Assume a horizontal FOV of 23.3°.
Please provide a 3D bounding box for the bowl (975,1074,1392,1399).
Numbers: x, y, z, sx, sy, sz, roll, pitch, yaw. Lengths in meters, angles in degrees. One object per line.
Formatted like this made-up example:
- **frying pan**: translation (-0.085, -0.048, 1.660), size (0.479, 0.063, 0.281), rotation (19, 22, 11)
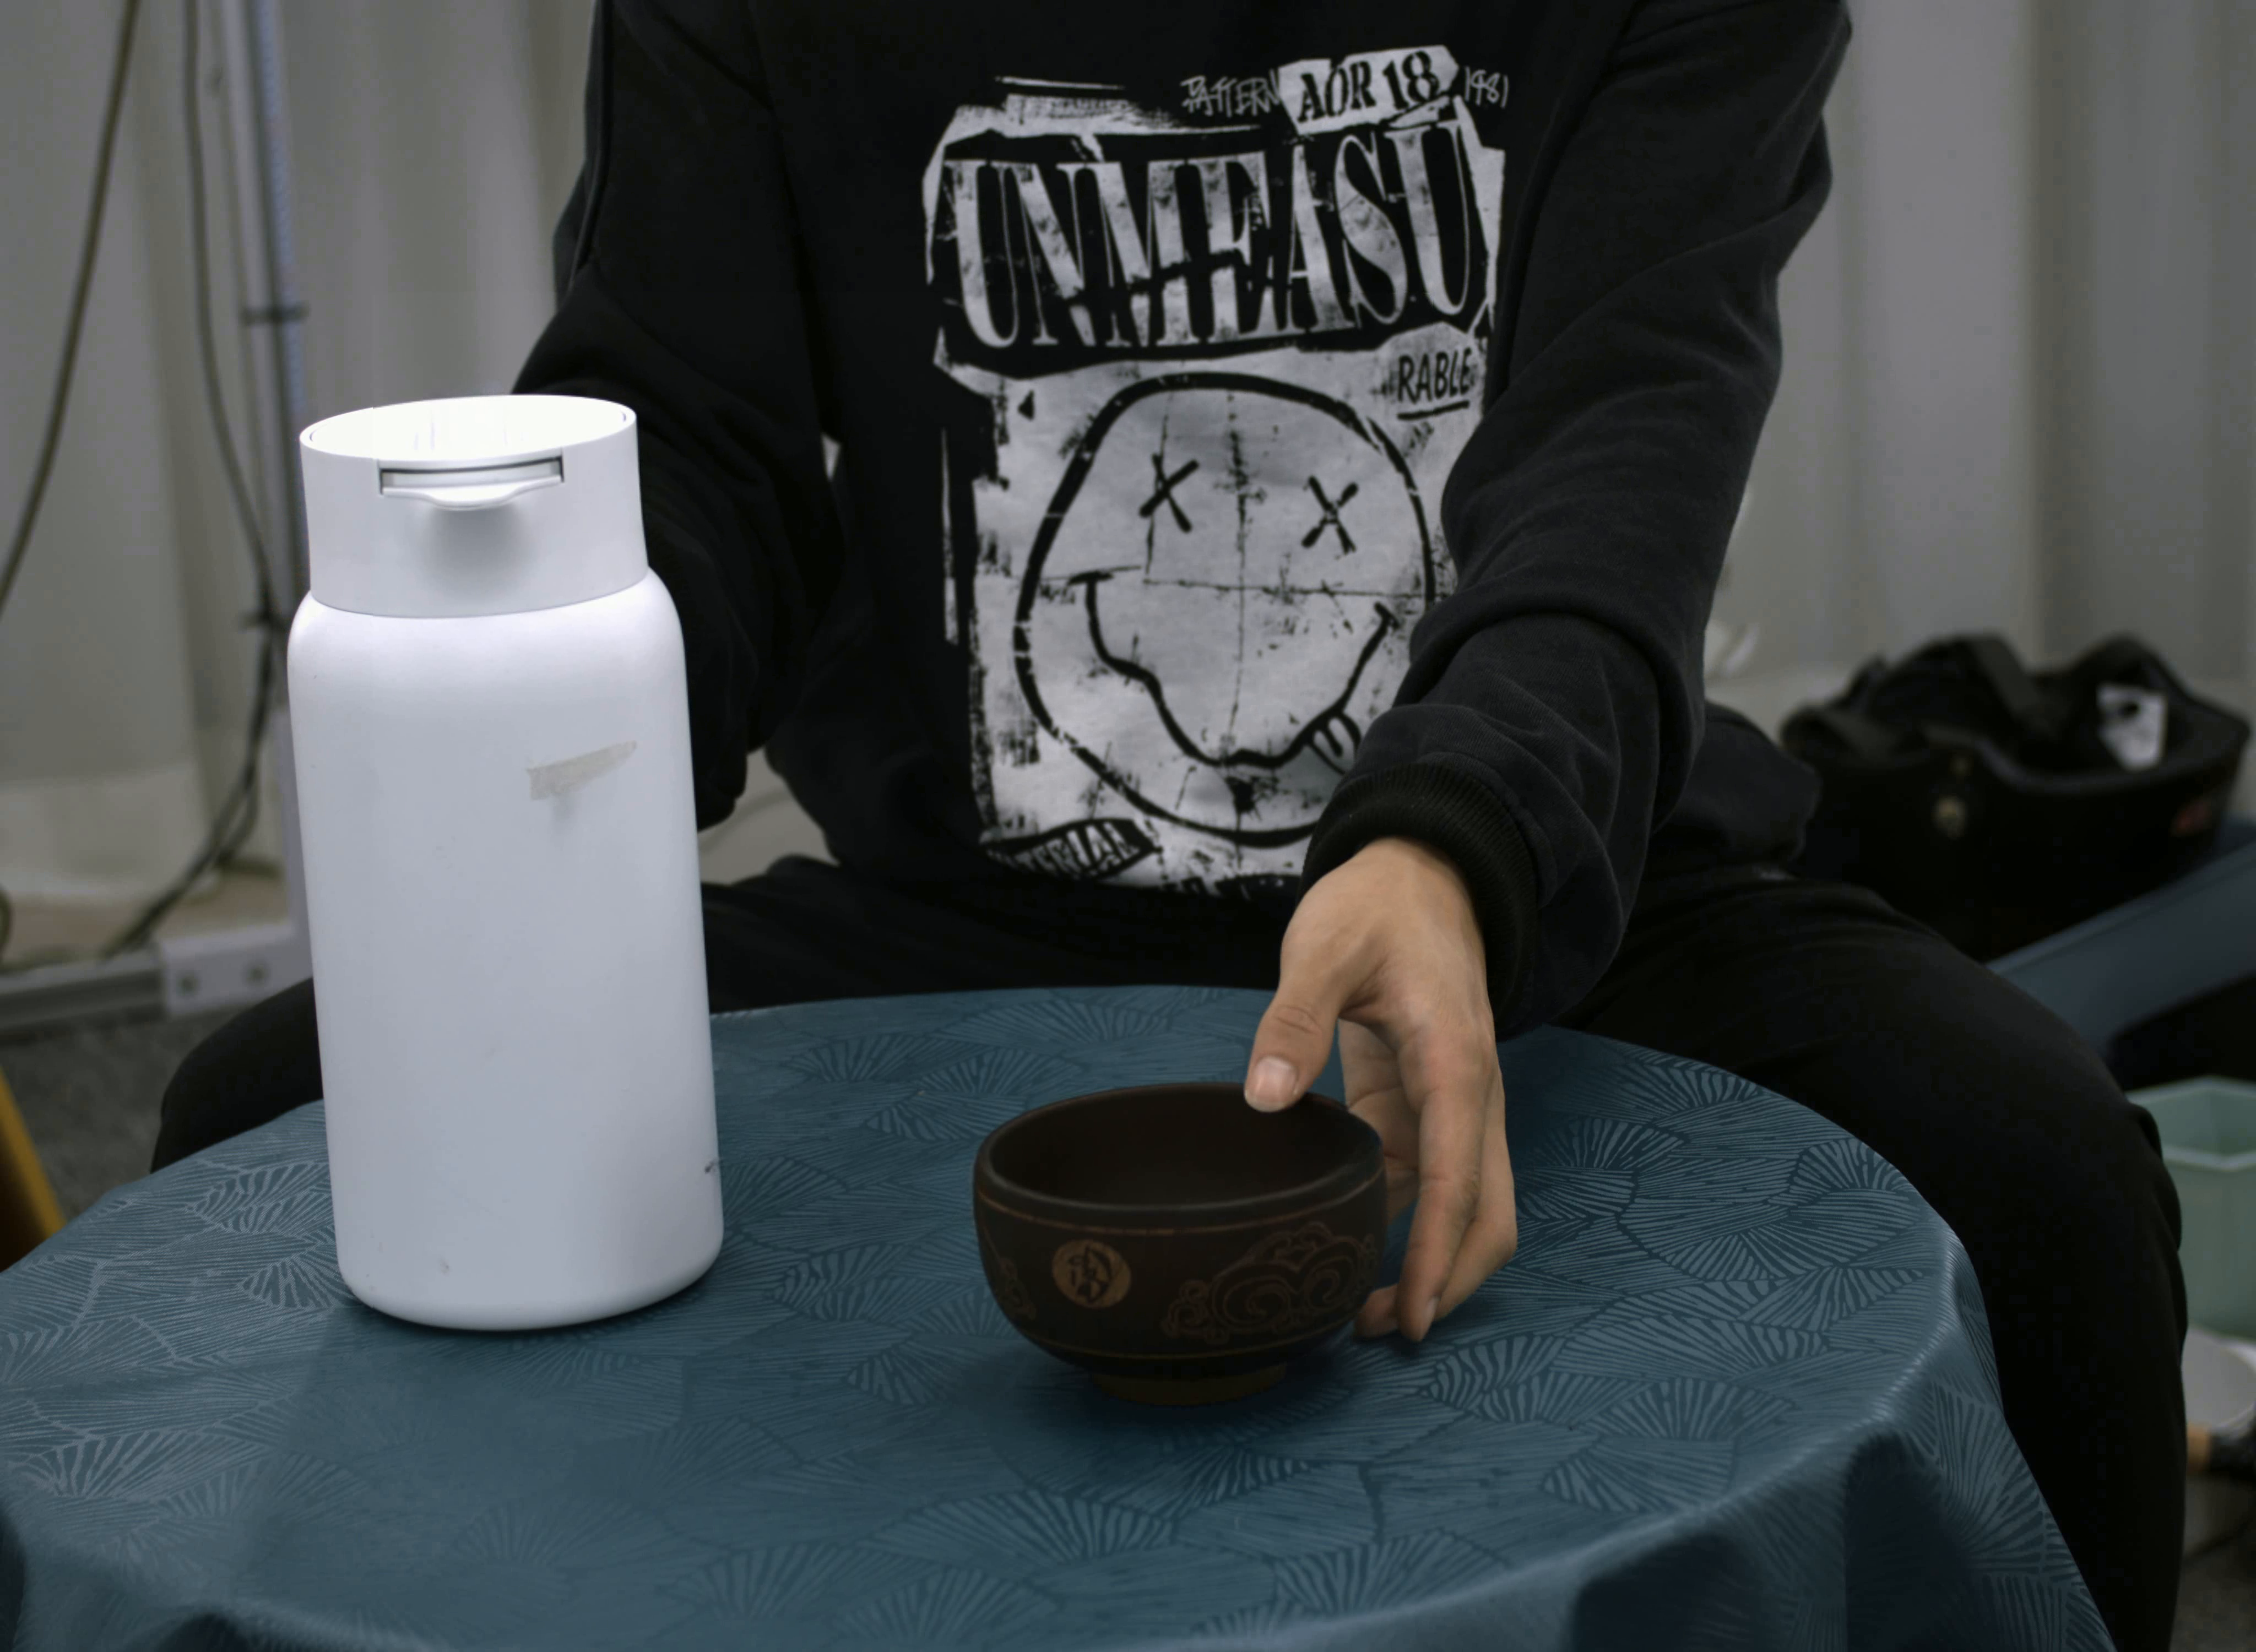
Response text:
- **bowl**: translation (0.016, 0.120, 1.548), size (0.117, 0.069, 0.119), rotation (-3, 14, 1)

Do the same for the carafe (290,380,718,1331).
- **carafe**: translation (-0.191, 0.004, 1.651), size (0.123, 0.268, 0.174), rotation (-6, 14, -7)
